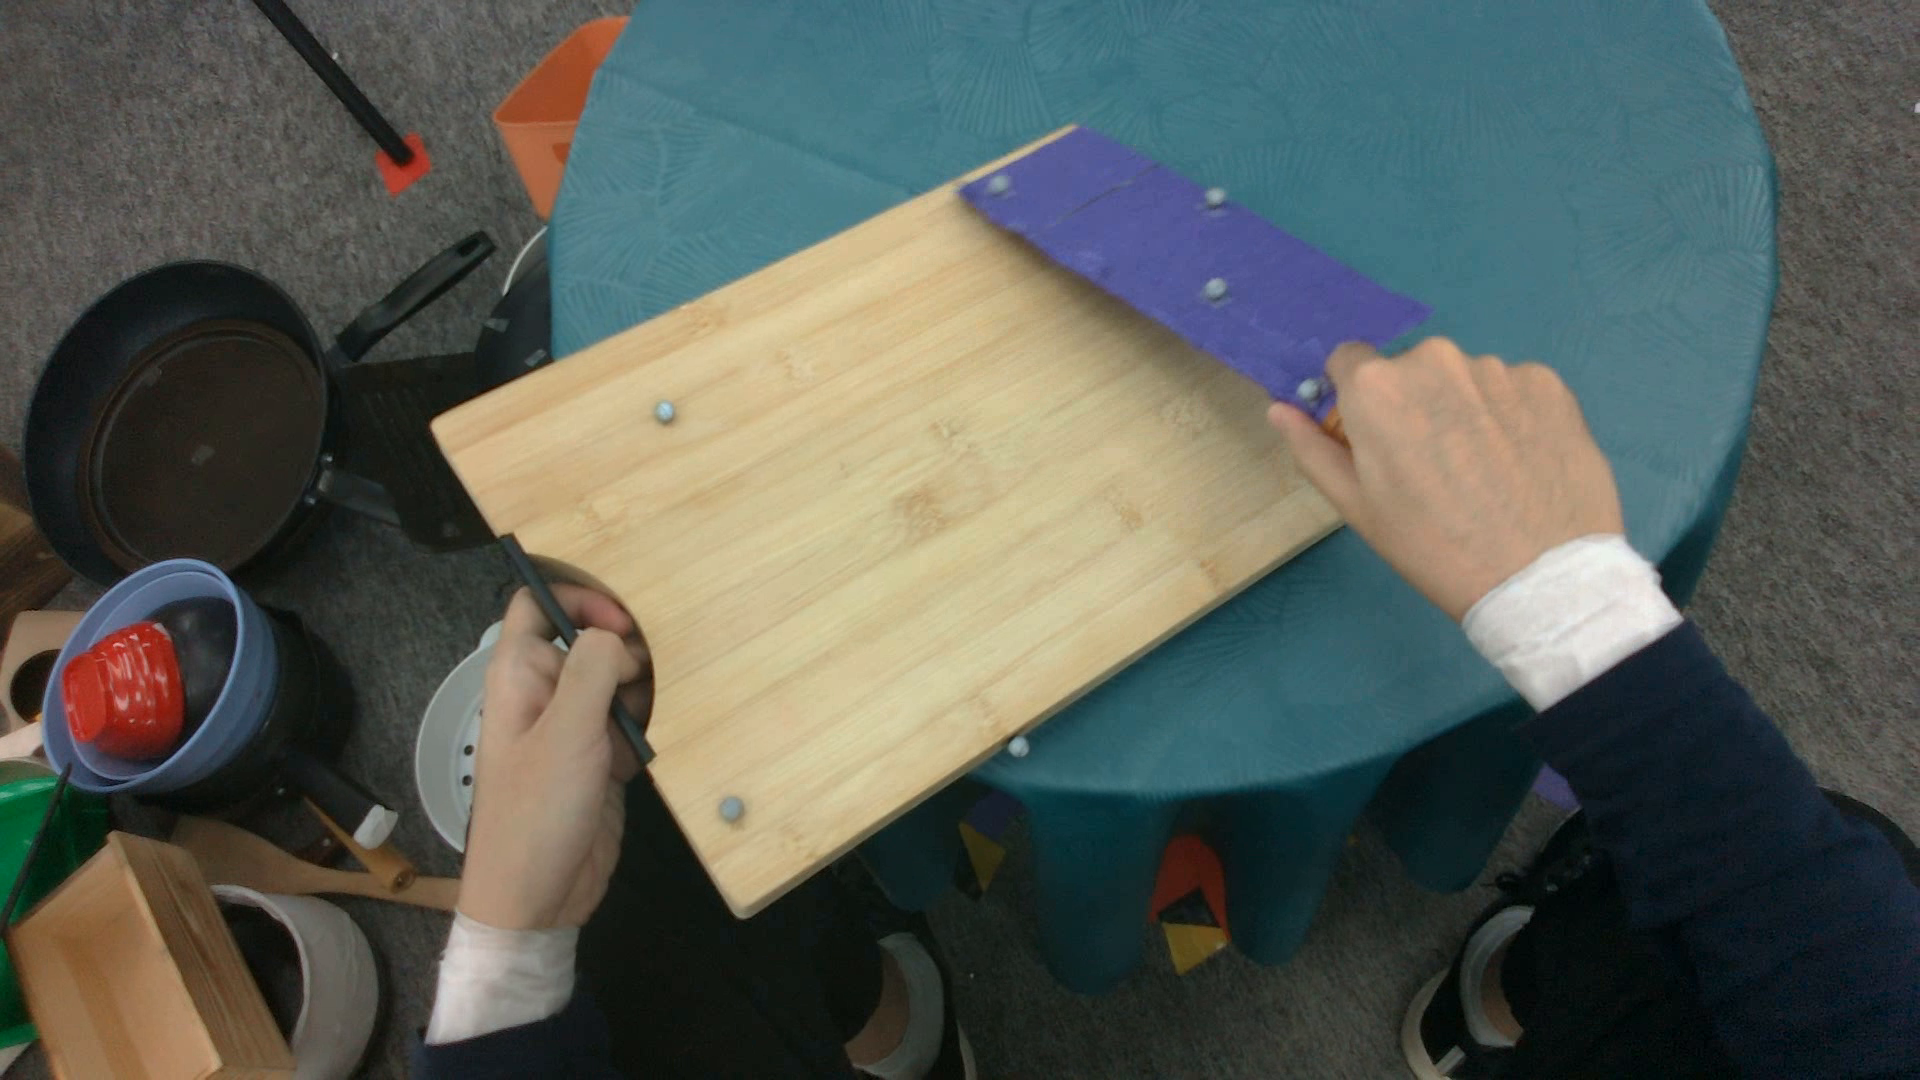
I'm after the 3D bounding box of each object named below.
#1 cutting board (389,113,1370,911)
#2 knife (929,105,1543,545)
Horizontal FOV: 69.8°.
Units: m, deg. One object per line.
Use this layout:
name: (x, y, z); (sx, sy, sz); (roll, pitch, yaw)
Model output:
cutting board: (-0.023, -0.039, 0.591); (0.350, 0.023, 0.251); (-31, 70, -22)
knife: (0.123, -0.112, 0.584); (0.104, 0.032, 0.315); (-32, 56, -25)
